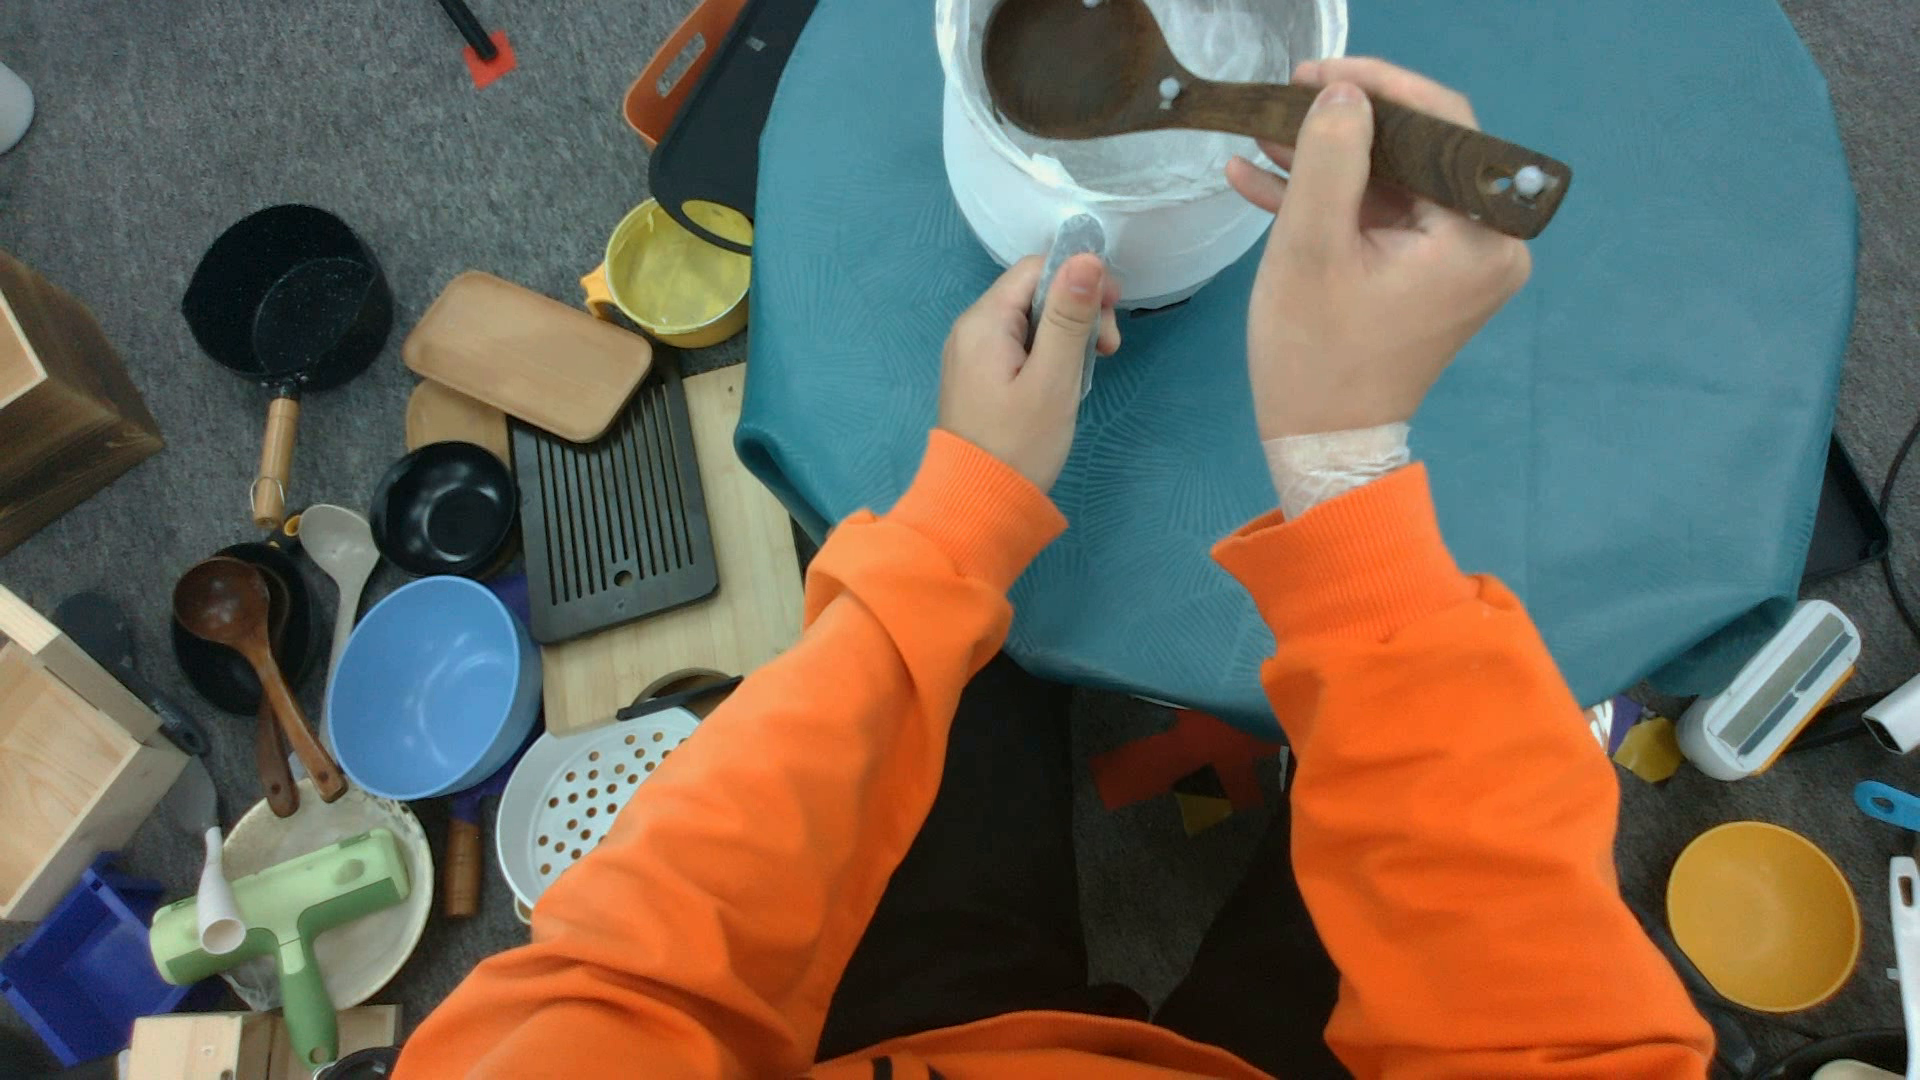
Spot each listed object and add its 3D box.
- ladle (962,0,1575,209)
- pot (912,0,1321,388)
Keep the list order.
[{"bbox_3d":[0.090,-0.174,0.492,0.076,0.071,0.274,-60,37,9],"label":"ladle"},{"bbox_3d":[0.065,-0.194,0.652,0.178,0.136,0.234,12,76,6],"label":"pot"}]
